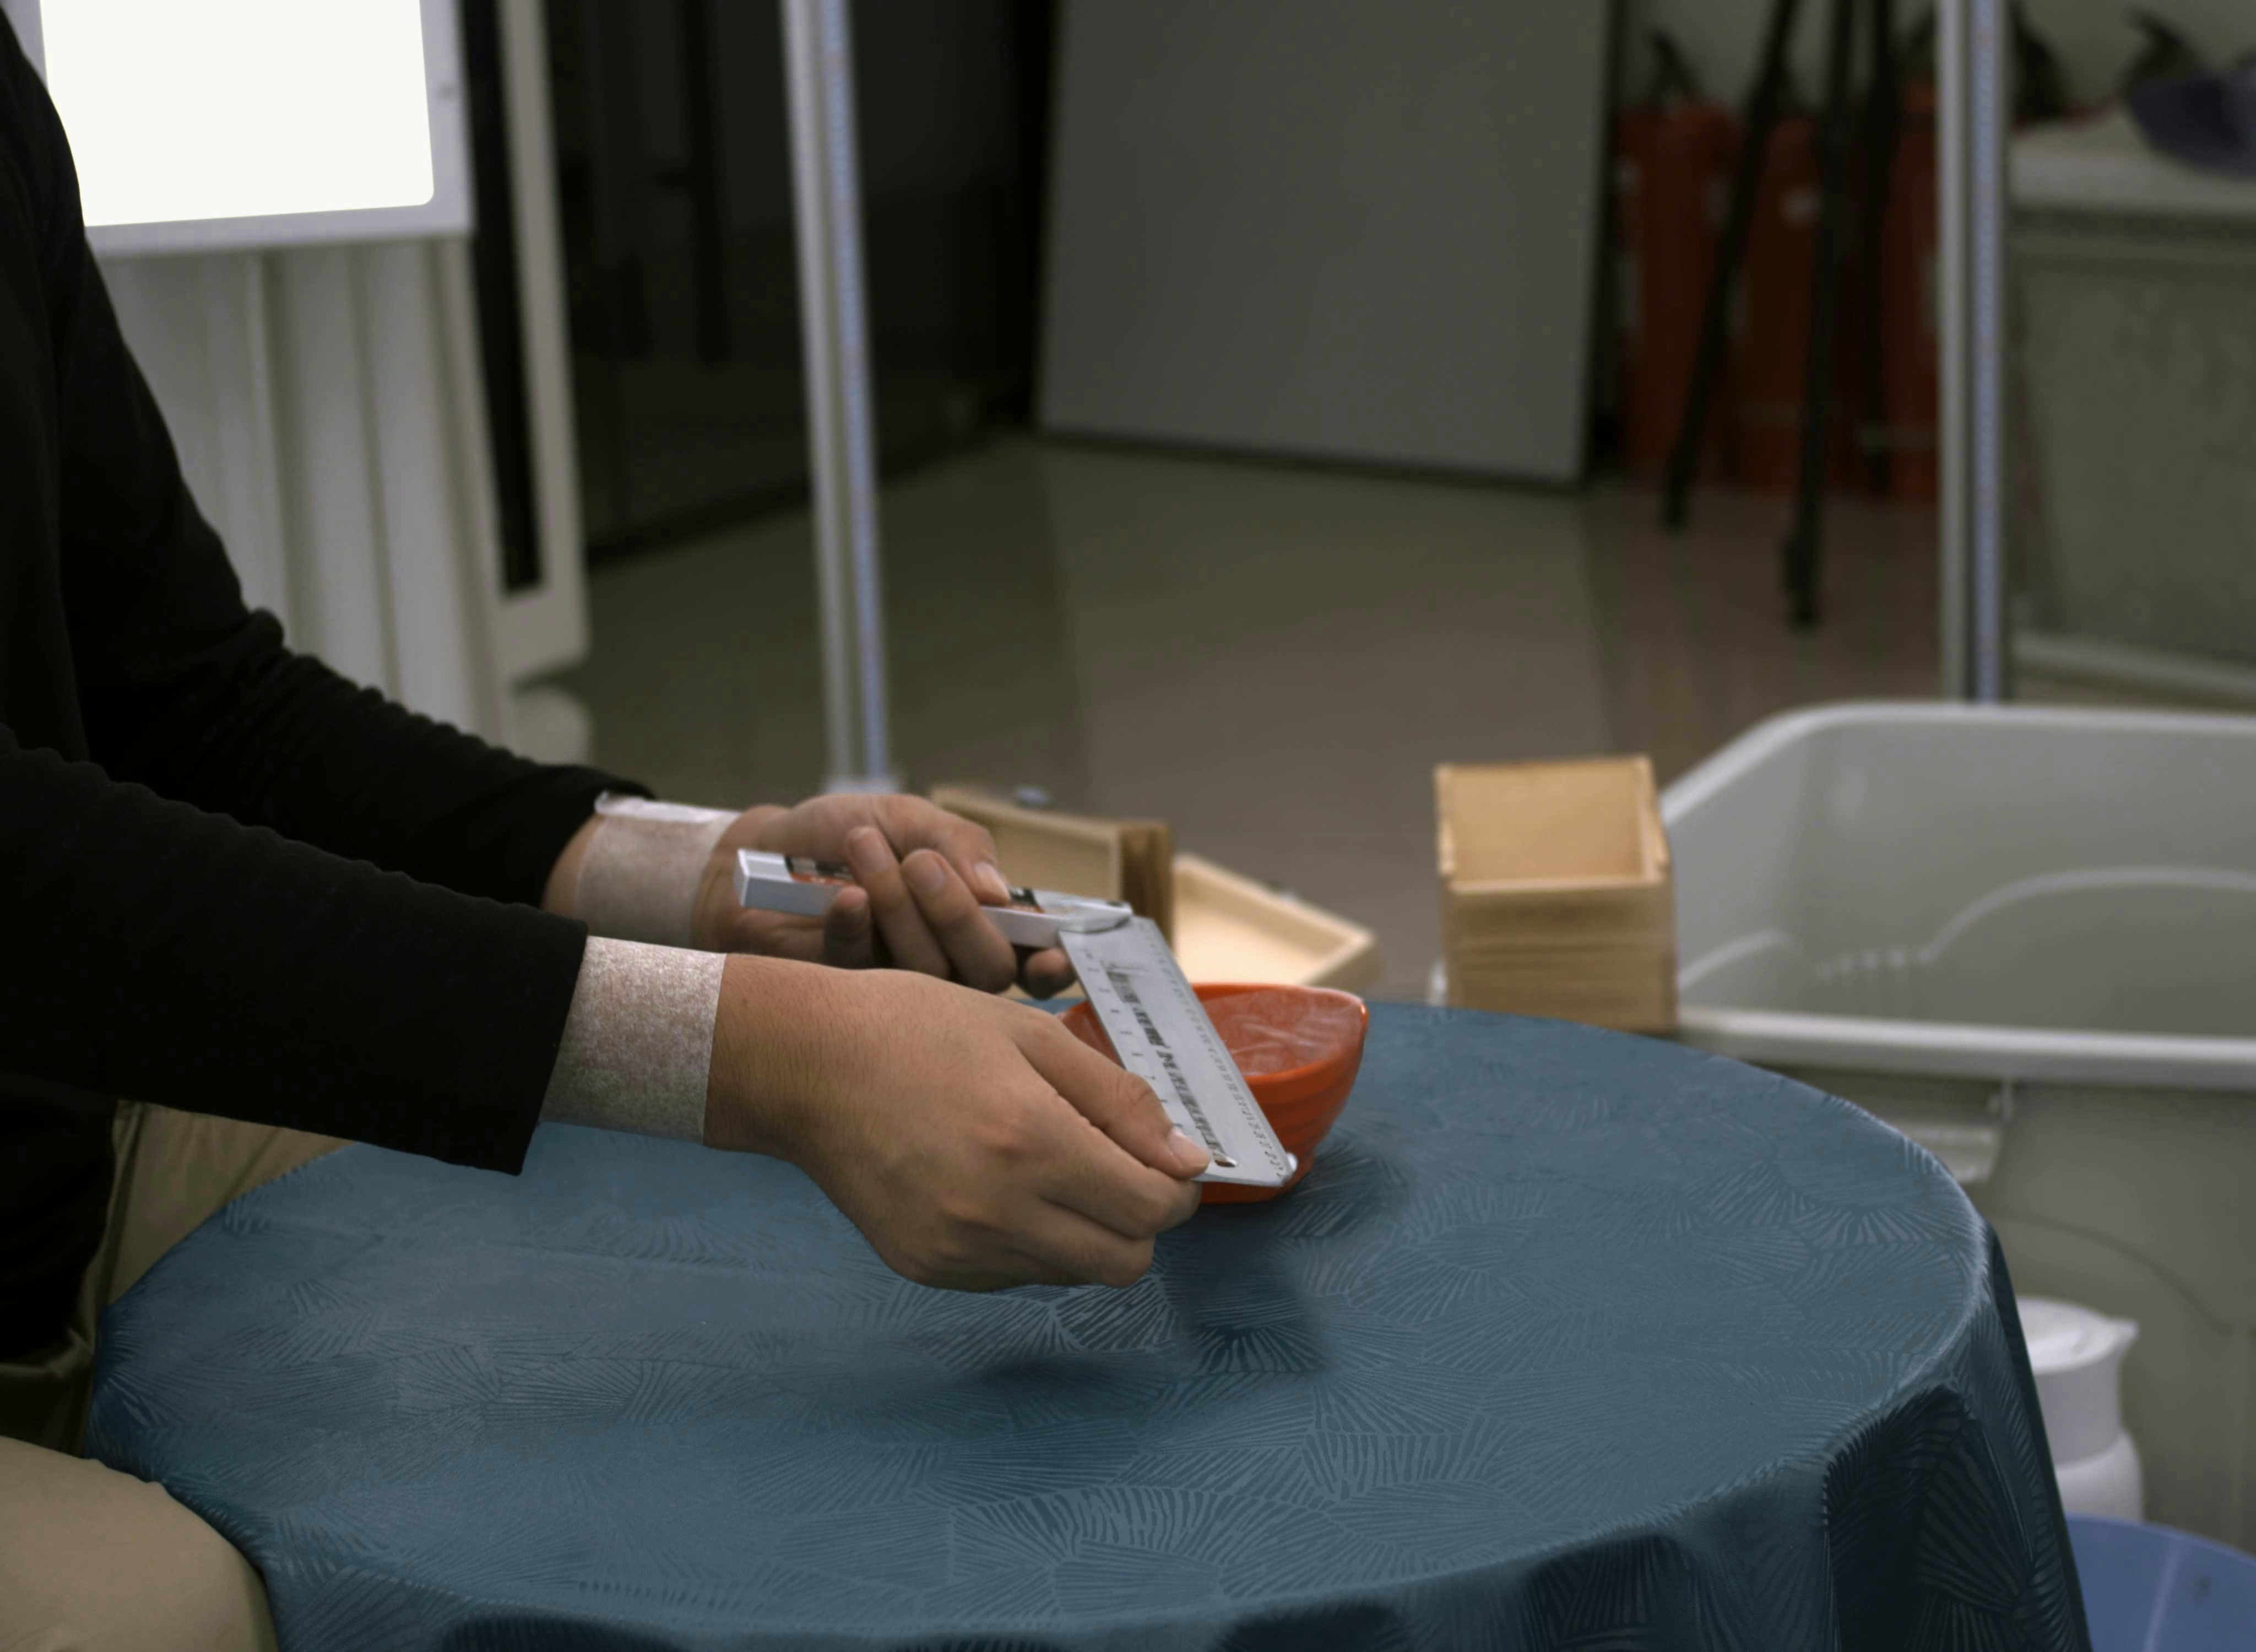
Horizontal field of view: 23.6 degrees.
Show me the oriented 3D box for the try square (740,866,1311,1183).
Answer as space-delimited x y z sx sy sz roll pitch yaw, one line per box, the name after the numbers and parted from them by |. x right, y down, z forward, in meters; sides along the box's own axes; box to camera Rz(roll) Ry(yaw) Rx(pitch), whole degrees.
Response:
-0.040 0.062 1.745 0.149 0.016 0.314 6 12 -9 | try square

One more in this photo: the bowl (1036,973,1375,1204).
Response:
0.026 0.089 1.777 0.117 0.052 0.119 -2 16 0 | bowl
